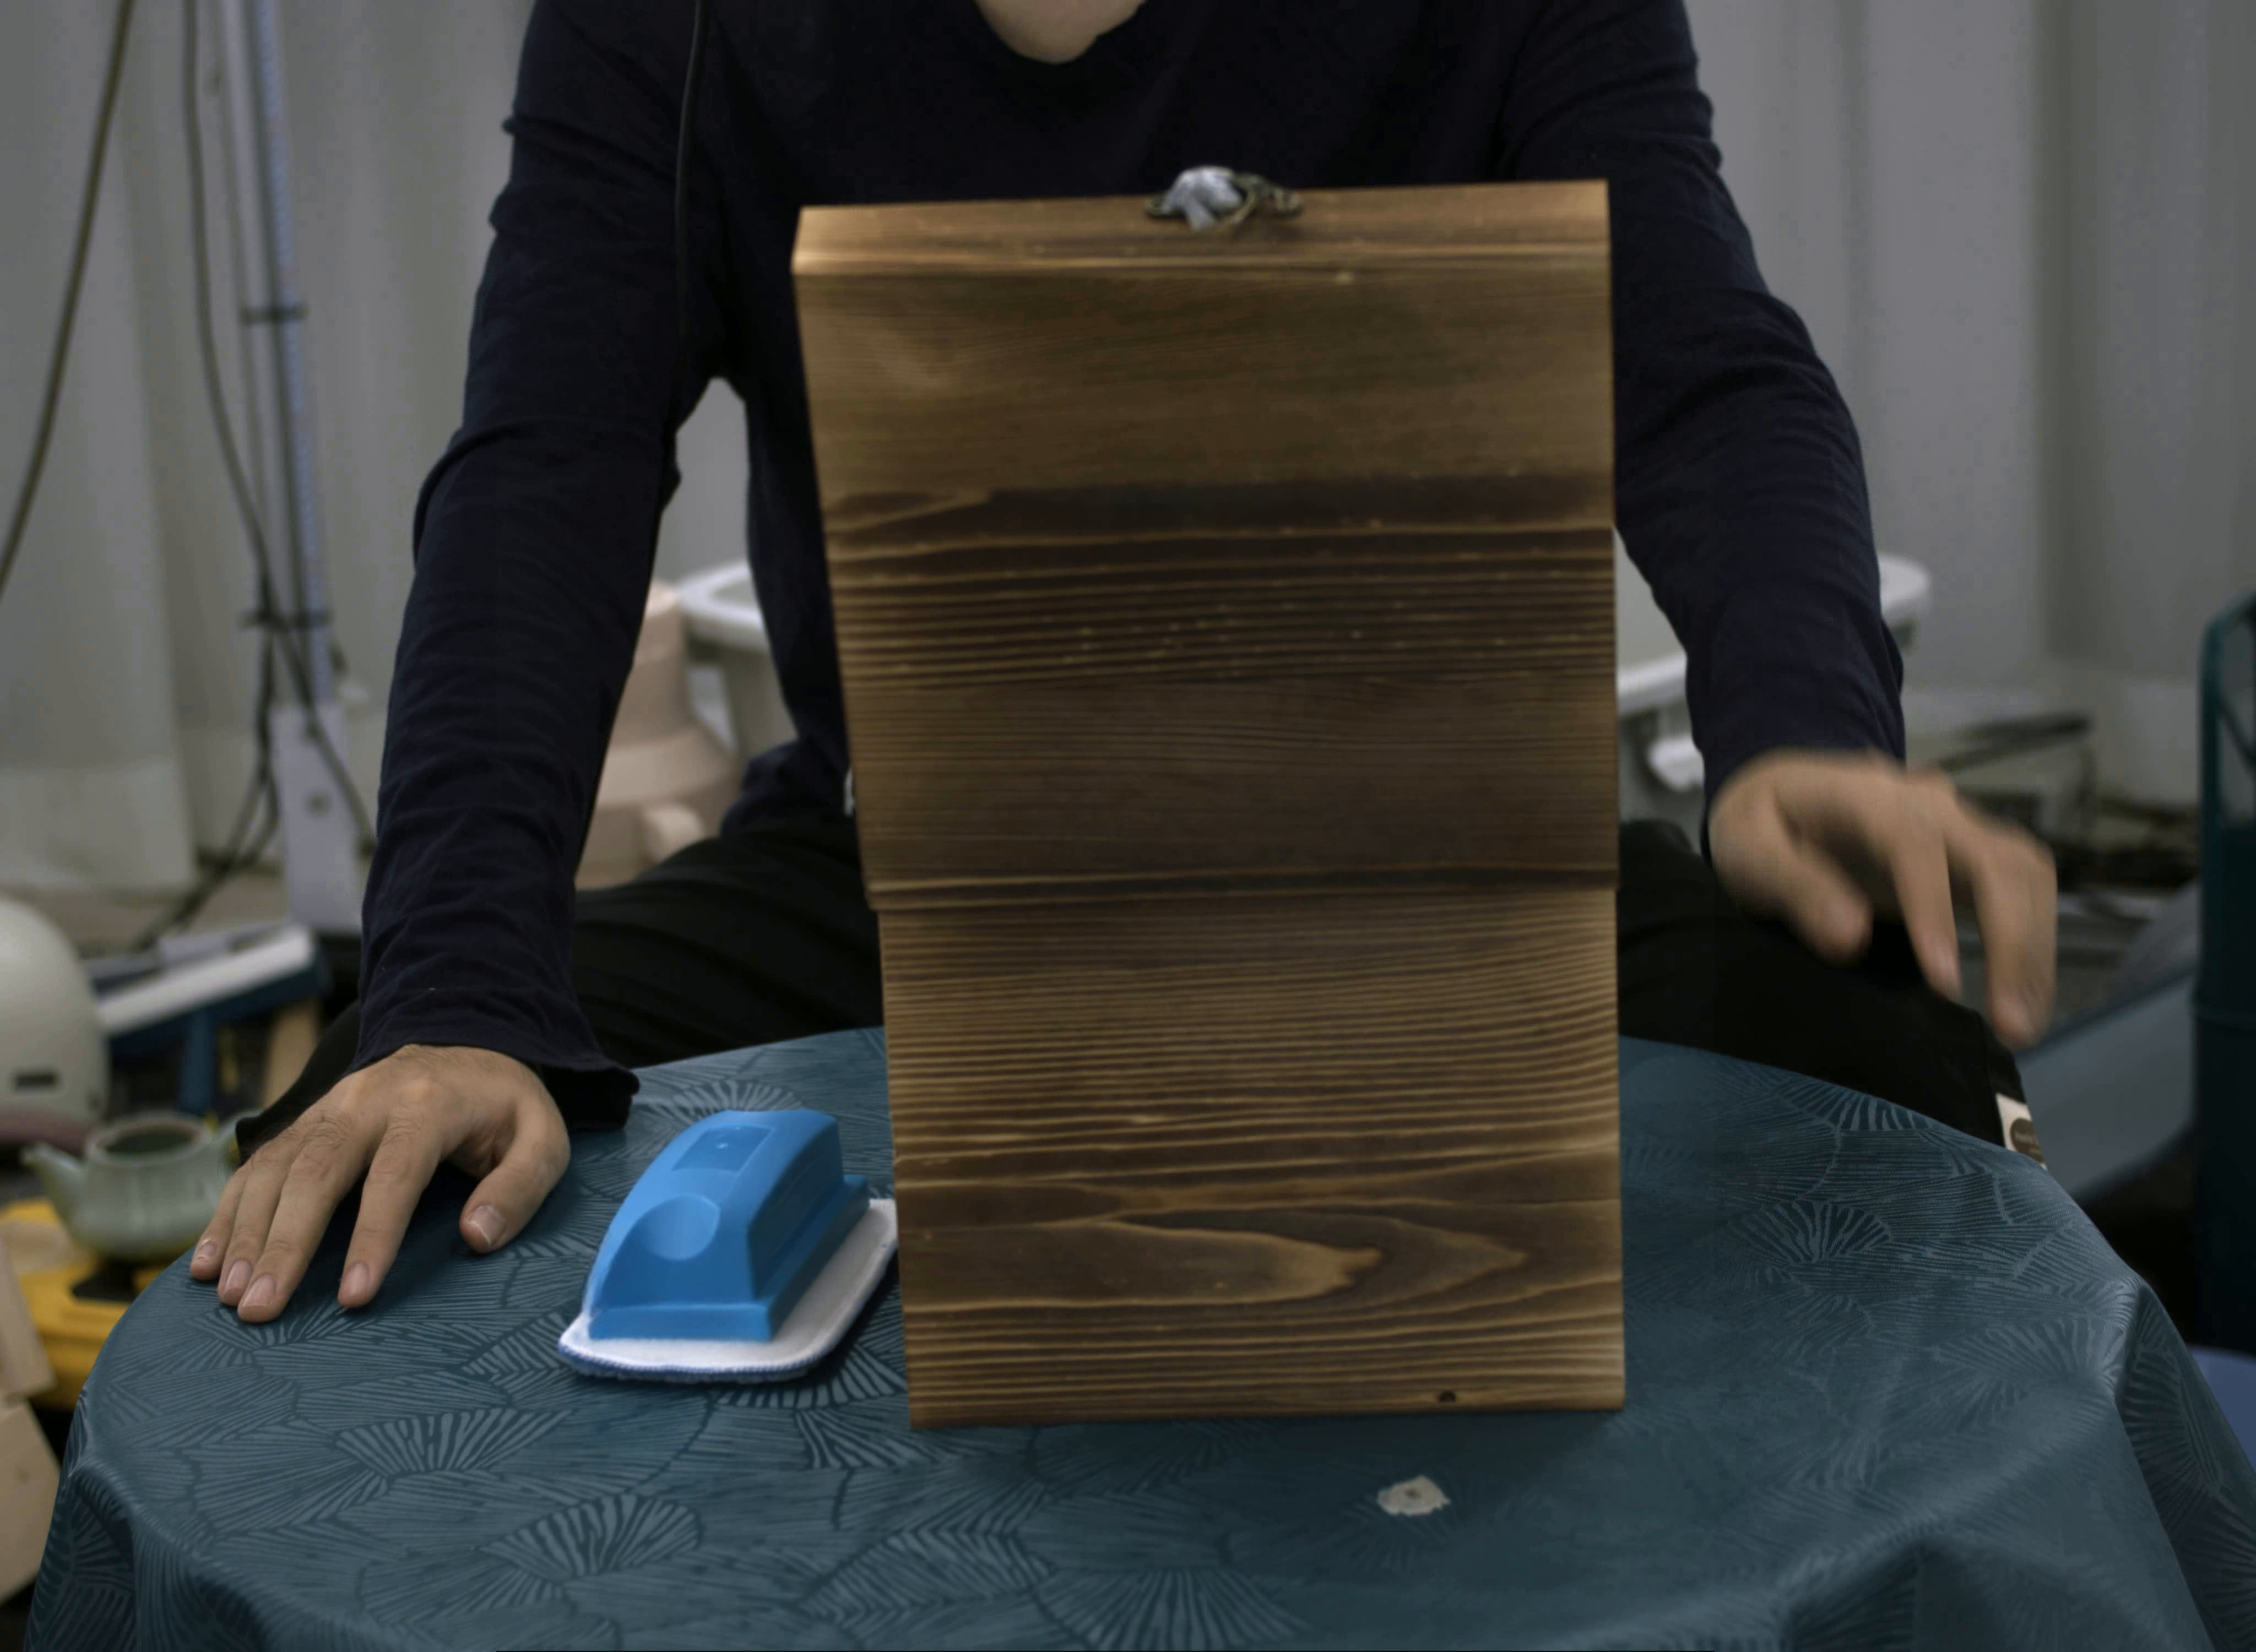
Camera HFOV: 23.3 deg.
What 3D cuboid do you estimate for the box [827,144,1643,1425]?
[{"bbox_3d":[0.035,-0.021,1.522,0.208,0.374,0.324,-2,14,3],"label":"box"}]

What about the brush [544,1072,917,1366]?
[{"bbox_3d":[-0.117,0.113,1.628,0.084,0.055,0.145,4,18,13],"label":"brush"}]
